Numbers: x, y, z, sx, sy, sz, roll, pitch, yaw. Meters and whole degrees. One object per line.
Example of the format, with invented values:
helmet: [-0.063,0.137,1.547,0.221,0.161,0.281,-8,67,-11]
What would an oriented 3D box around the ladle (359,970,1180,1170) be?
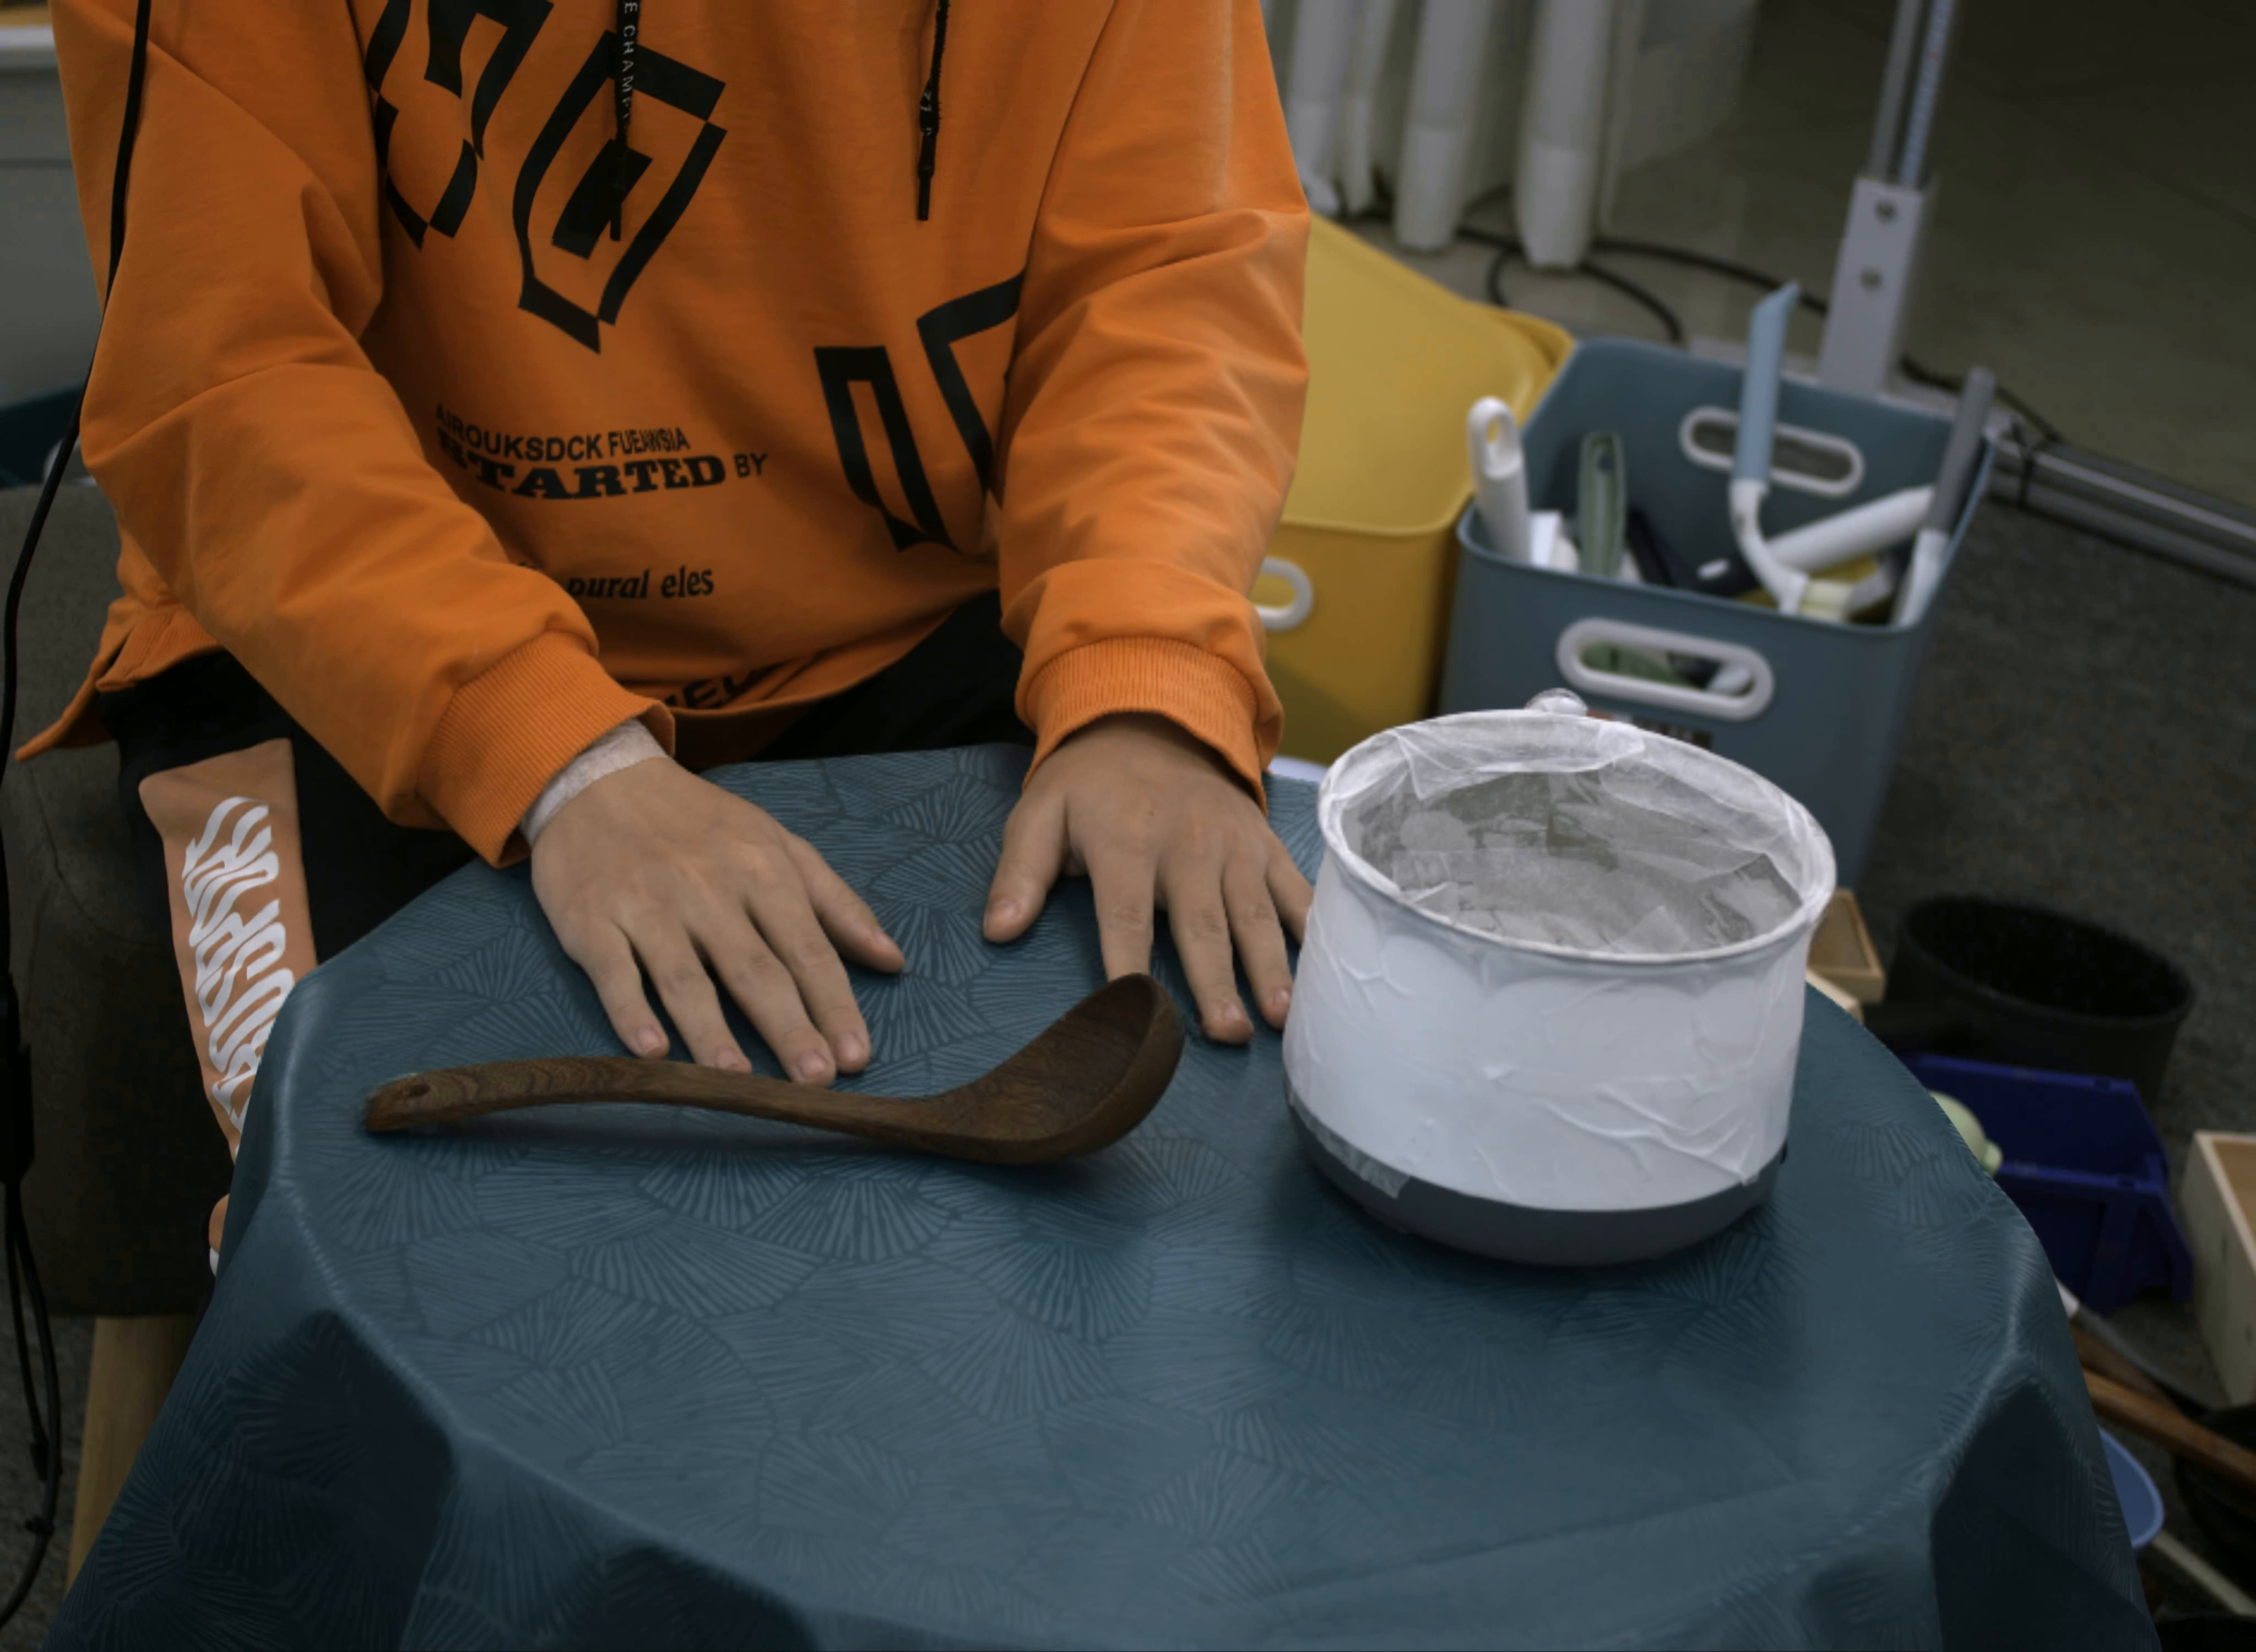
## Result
ladle: [-0.120,0.076,1.792,0.273,0.071,0.076,4,22,-7]

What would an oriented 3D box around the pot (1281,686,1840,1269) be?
pot: [0.144,0.044,1.838,0.178,0.136,0.235,6,27,-3]
